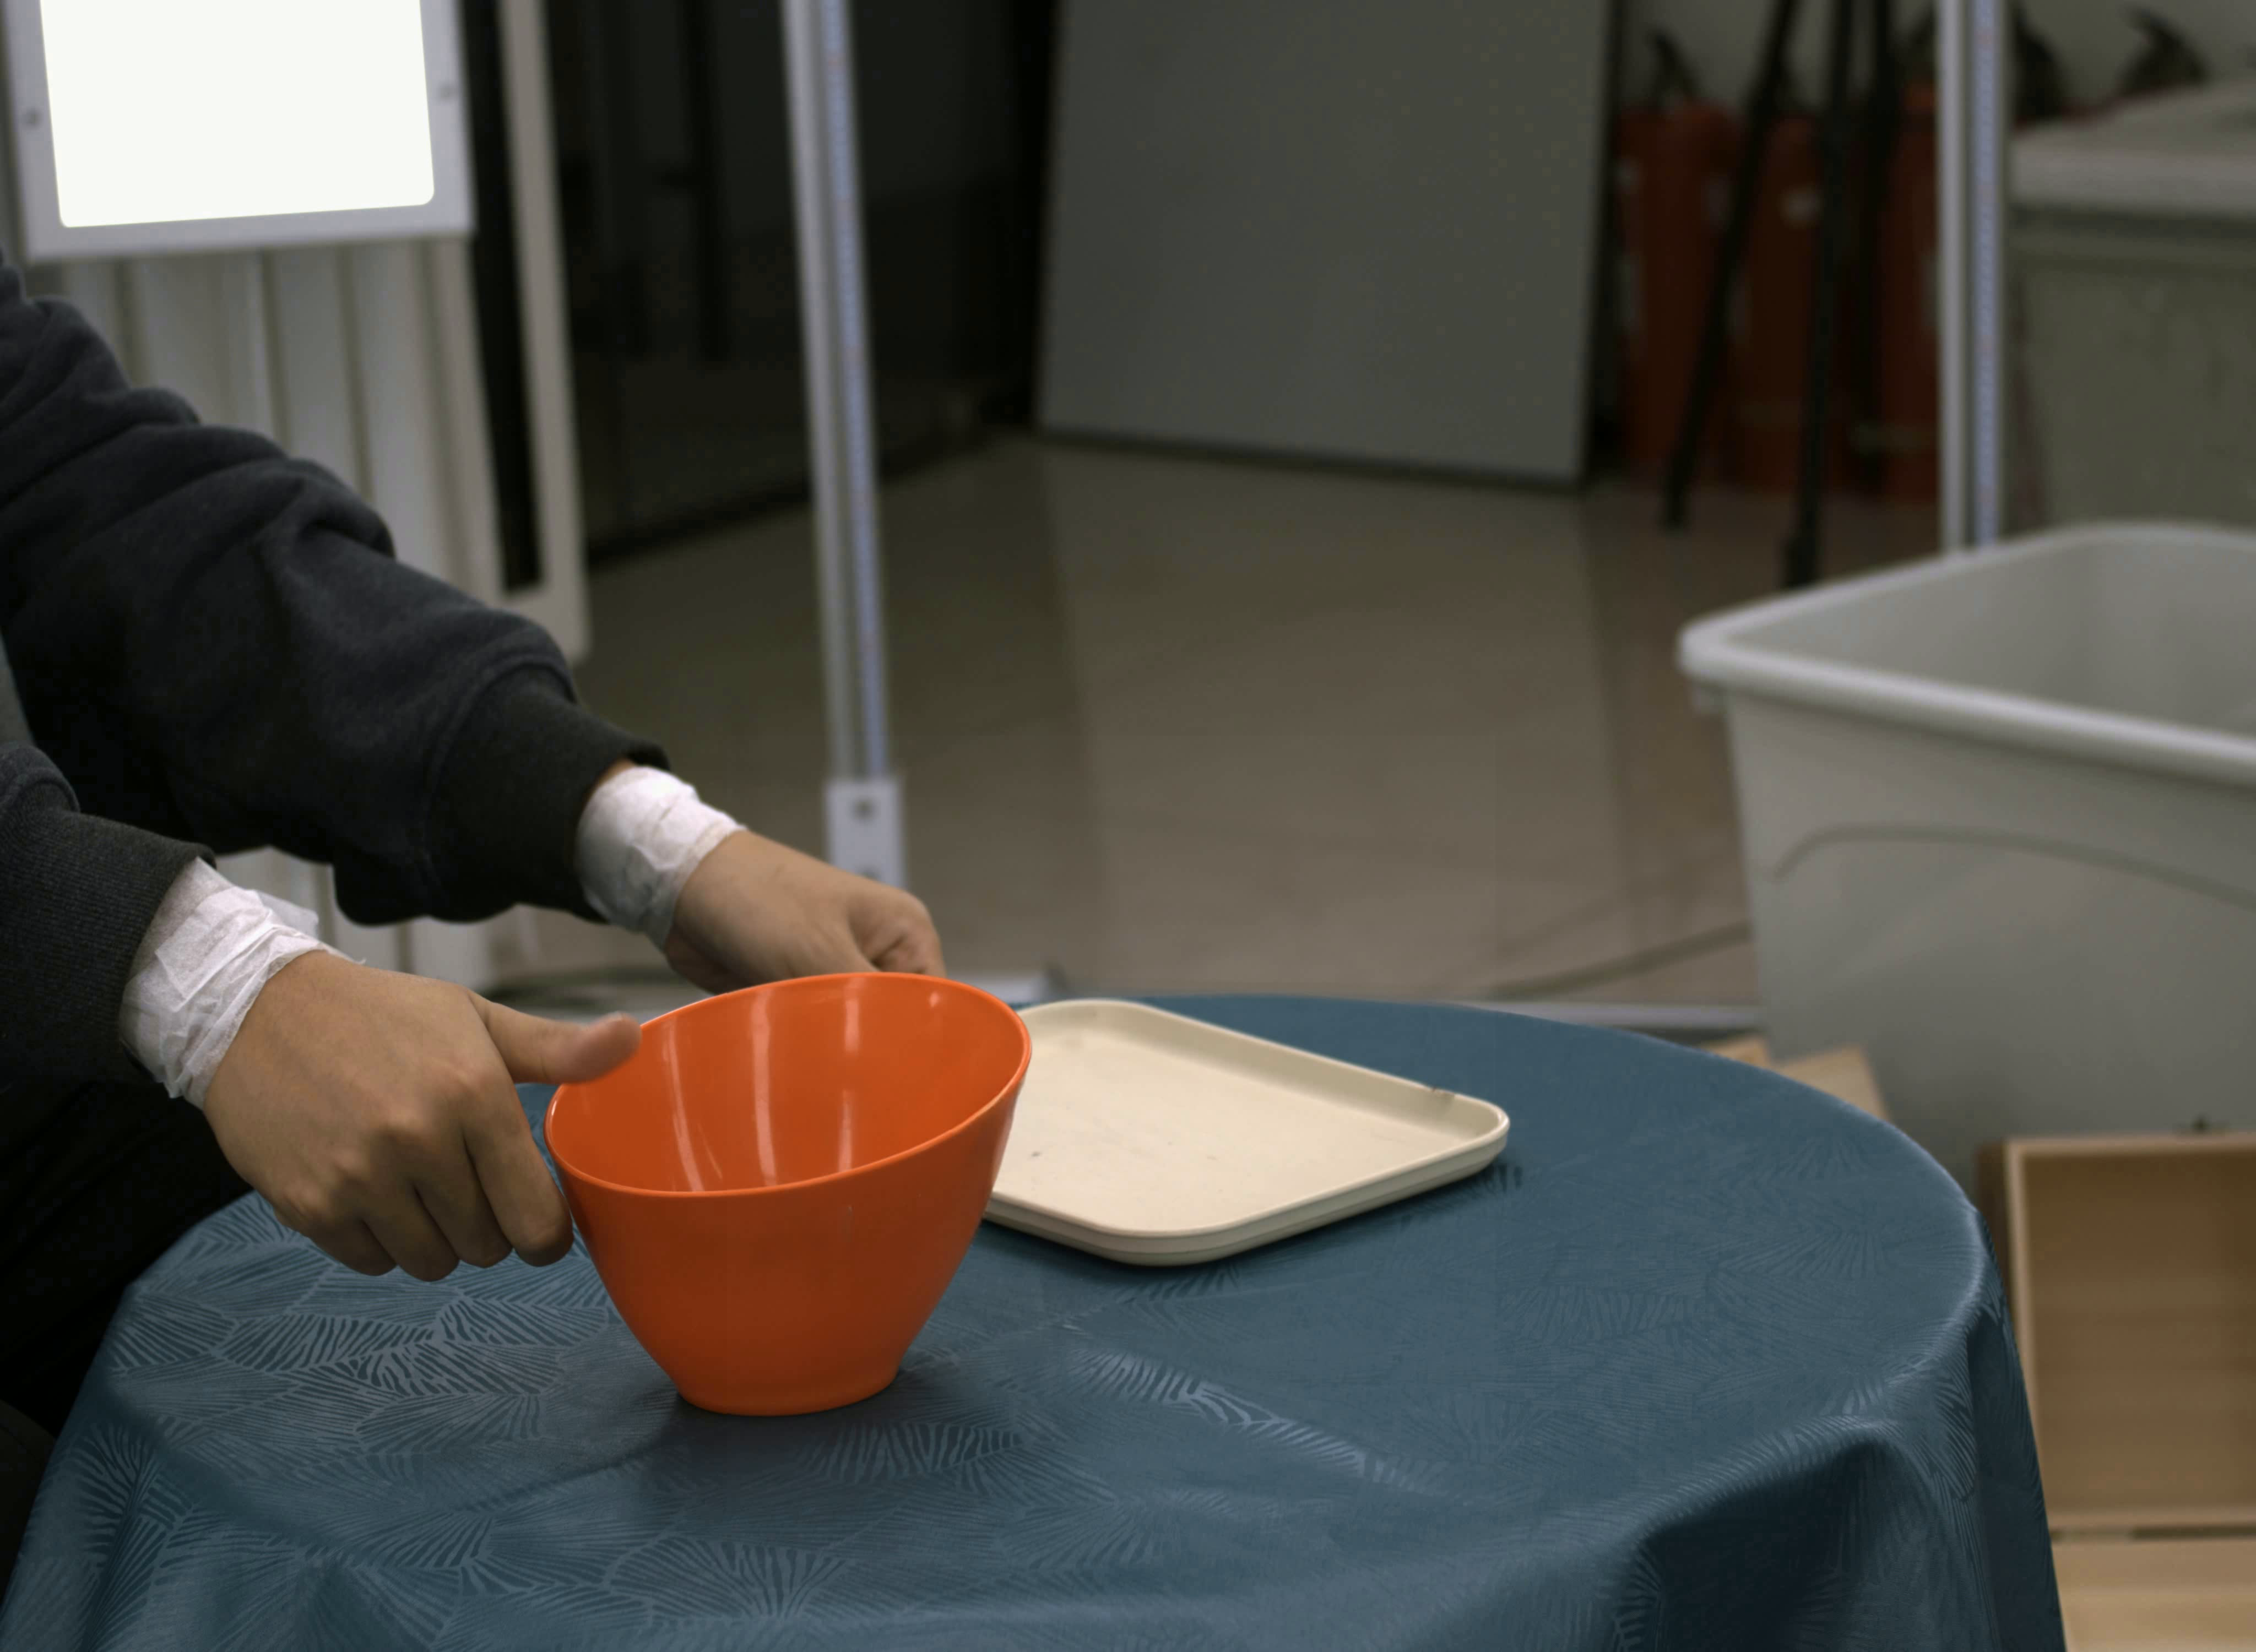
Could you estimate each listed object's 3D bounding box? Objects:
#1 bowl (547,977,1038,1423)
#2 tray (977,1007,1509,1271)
[{"bbox_3d":[-0.098,0.115,1.609,0.146,0.106,0.148,-2,14,0],"label":"bowl"},{"bbox_3d":[-0.001,0.103,1.805,0.167,0.017,0.242,-15,18,-37],"label":"tray"}]
